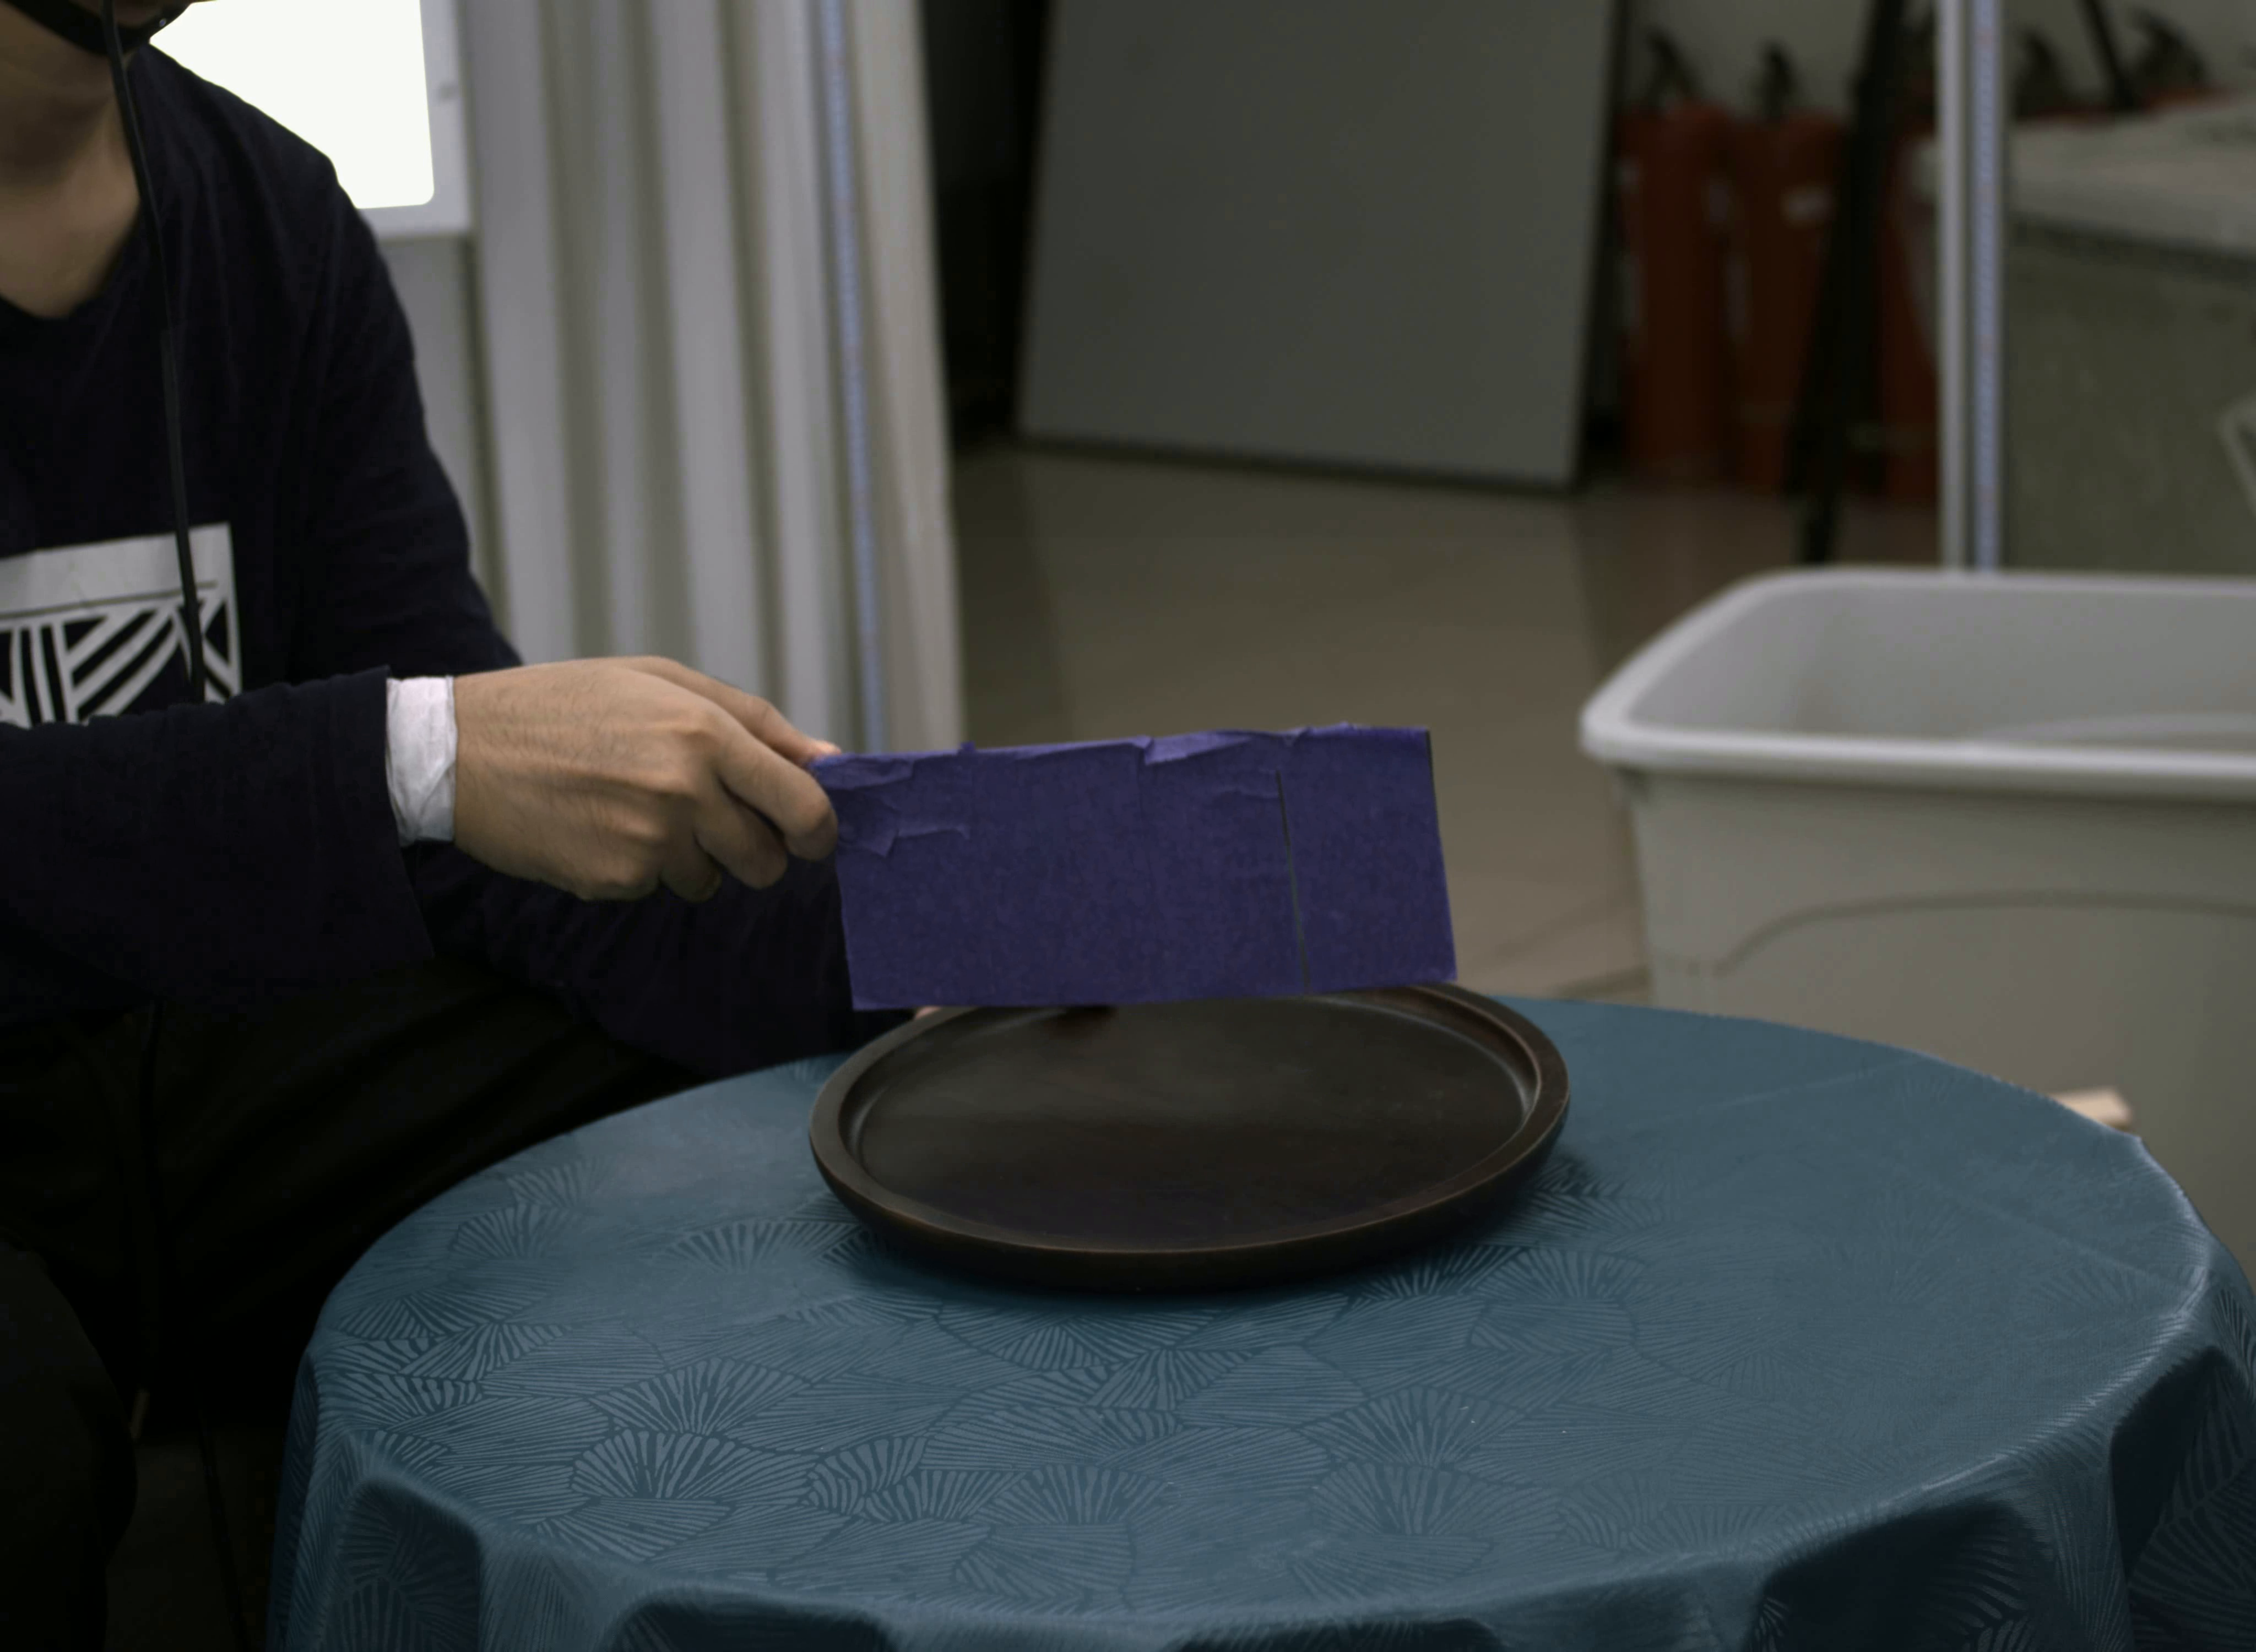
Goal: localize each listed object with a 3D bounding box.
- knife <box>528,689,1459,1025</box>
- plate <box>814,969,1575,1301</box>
[{"bbox_3d":[-0.046,0.017,1.793,0.314,0.105,0.032,-4,12,17],"label":"knife"},{"bbox_3d":[0.022,0.098,1.770,0.251,0.029,0.255,-3,19,0],"label":"plate"}]
